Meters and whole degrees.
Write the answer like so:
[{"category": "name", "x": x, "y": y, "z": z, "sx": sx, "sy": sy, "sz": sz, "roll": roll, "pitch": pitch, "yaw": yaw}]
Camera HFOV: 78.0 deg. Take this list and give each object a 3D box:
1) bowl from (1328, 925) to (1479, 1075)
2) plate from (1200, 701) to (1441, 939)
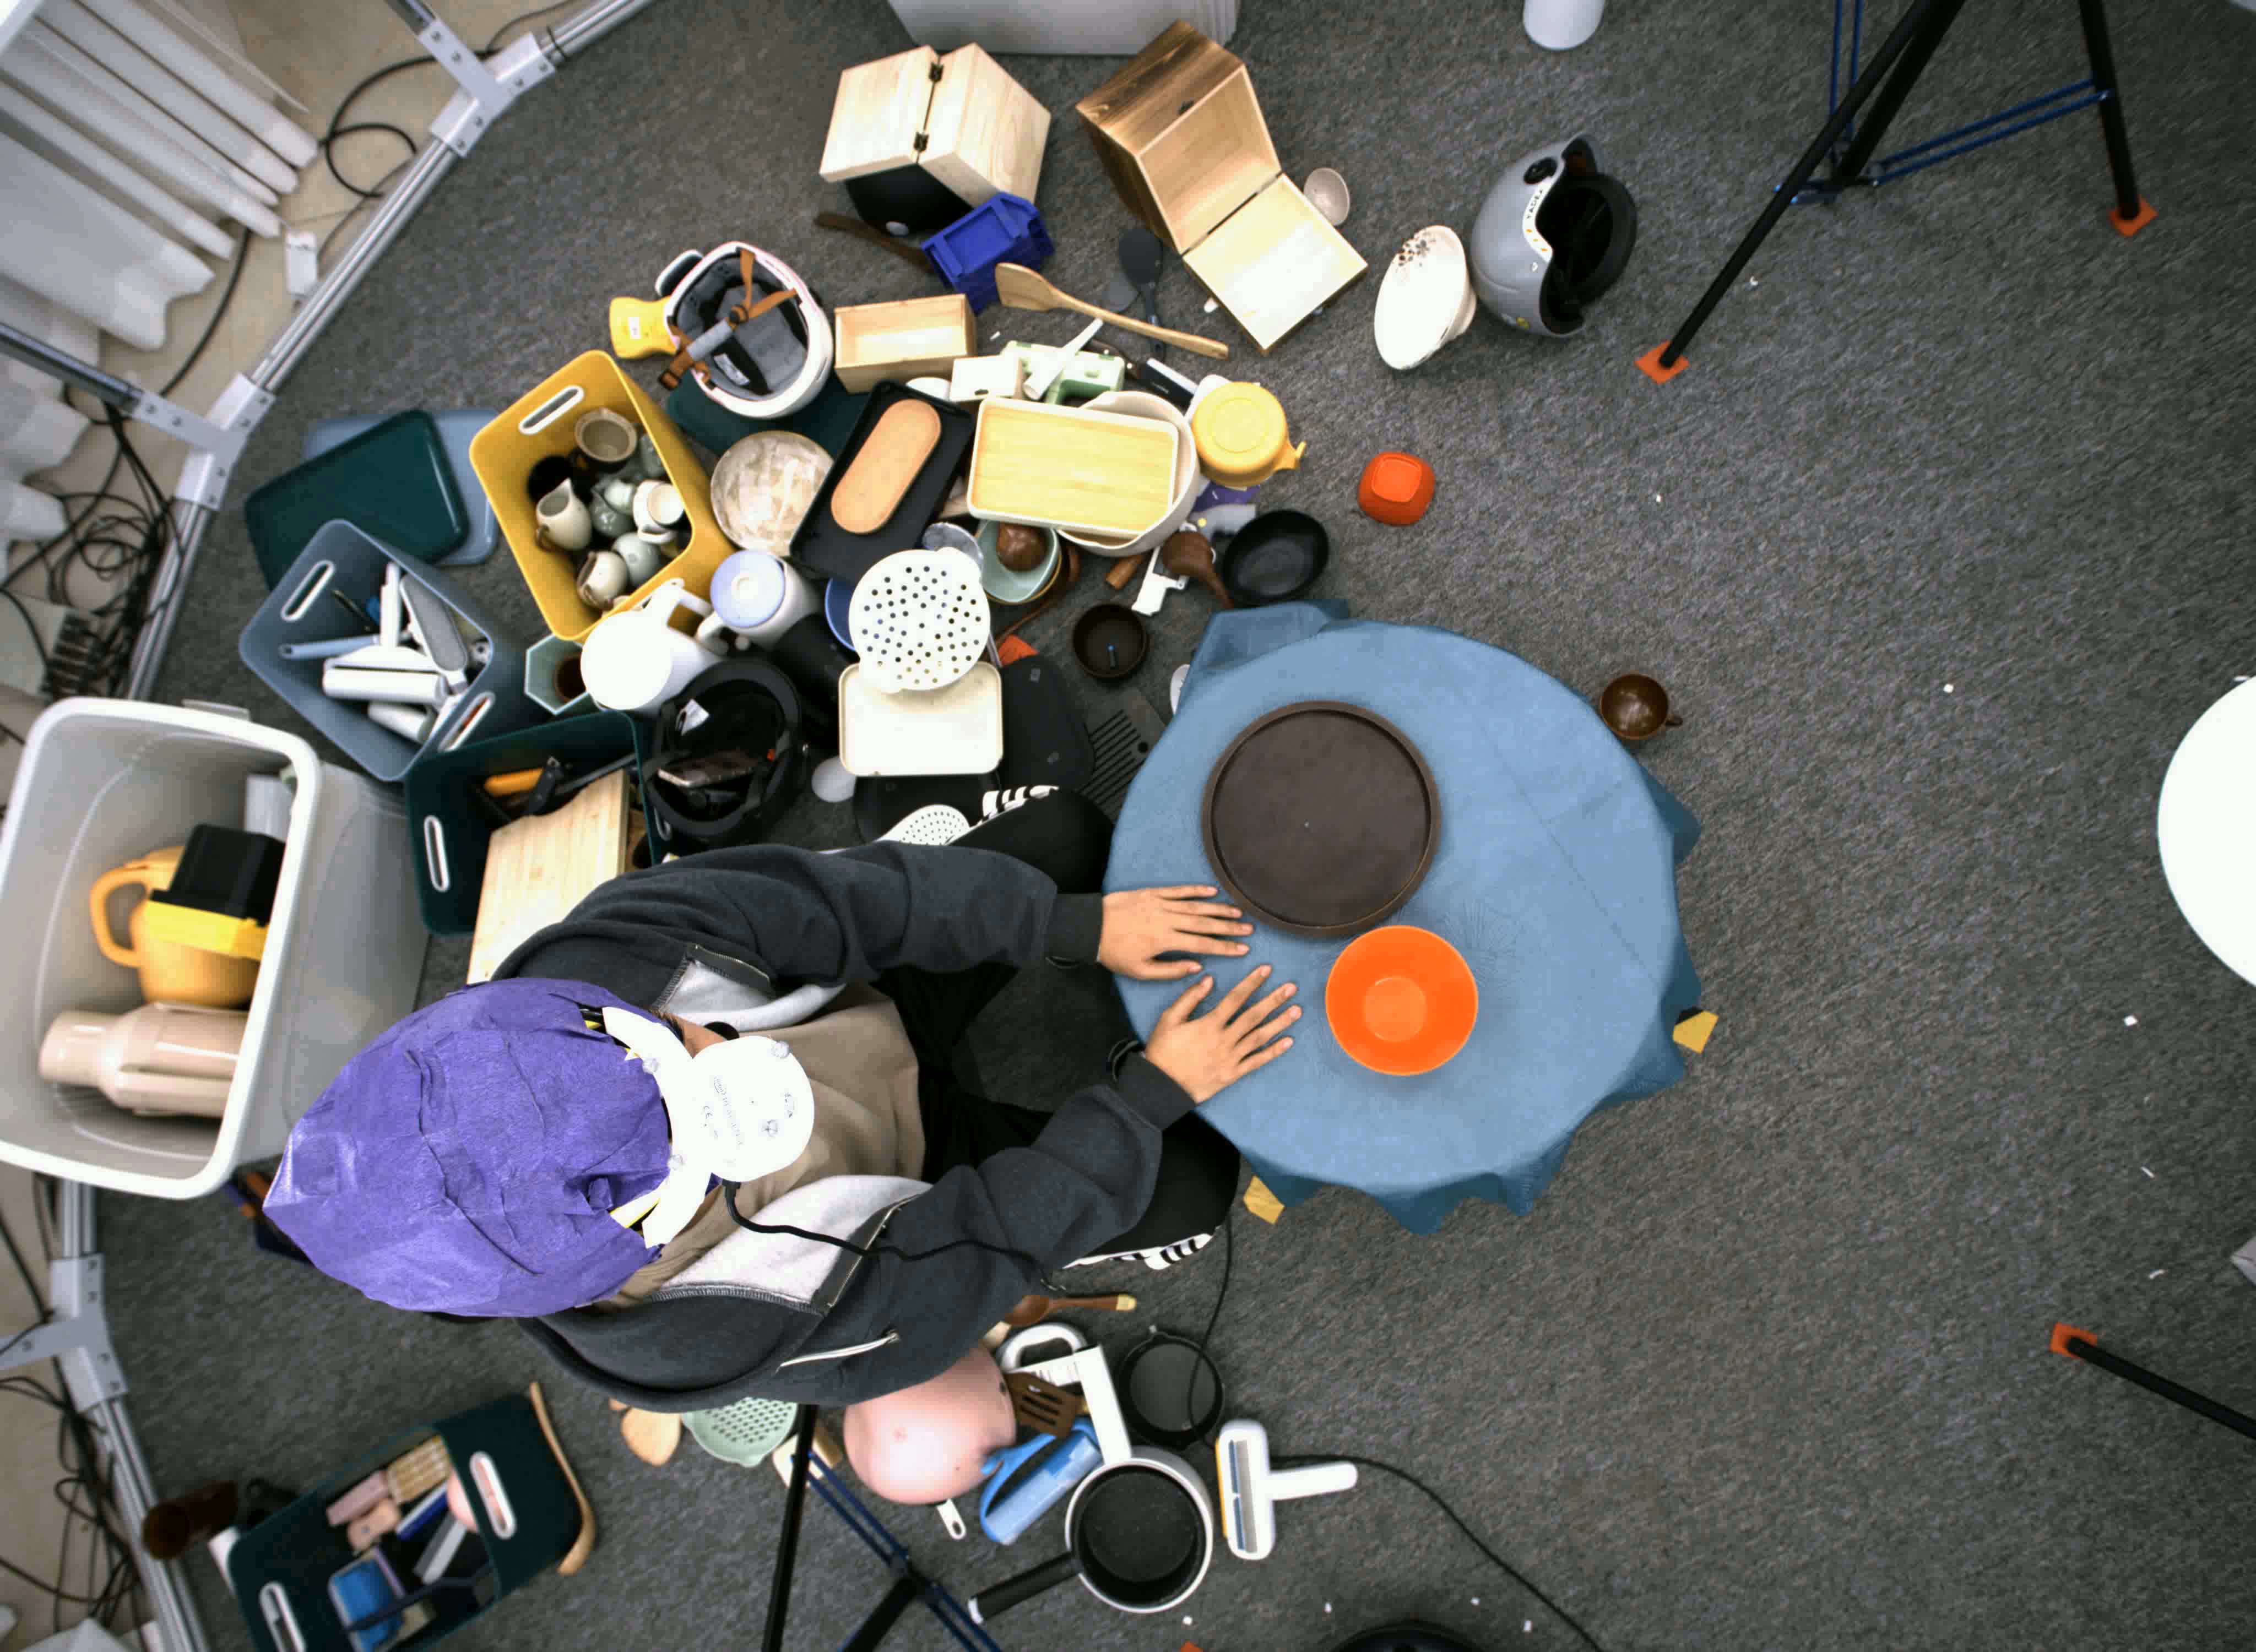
[{"category": "bowl", "x": 0.276, "y": 0.175, "z": 1.401, "sx": 0.148, "sy": 0.105, "sz": 0.147, "roll": -1, "pitch": 86, "yaw": 8}, {"category": "plate", "x": 0.203, "y": -0.008, "z": 1.464, "sx": 0.256, "sy": 0.029, "sz": 0.254, "roll": -1, "pitch": 88, "yaw": 10}]
